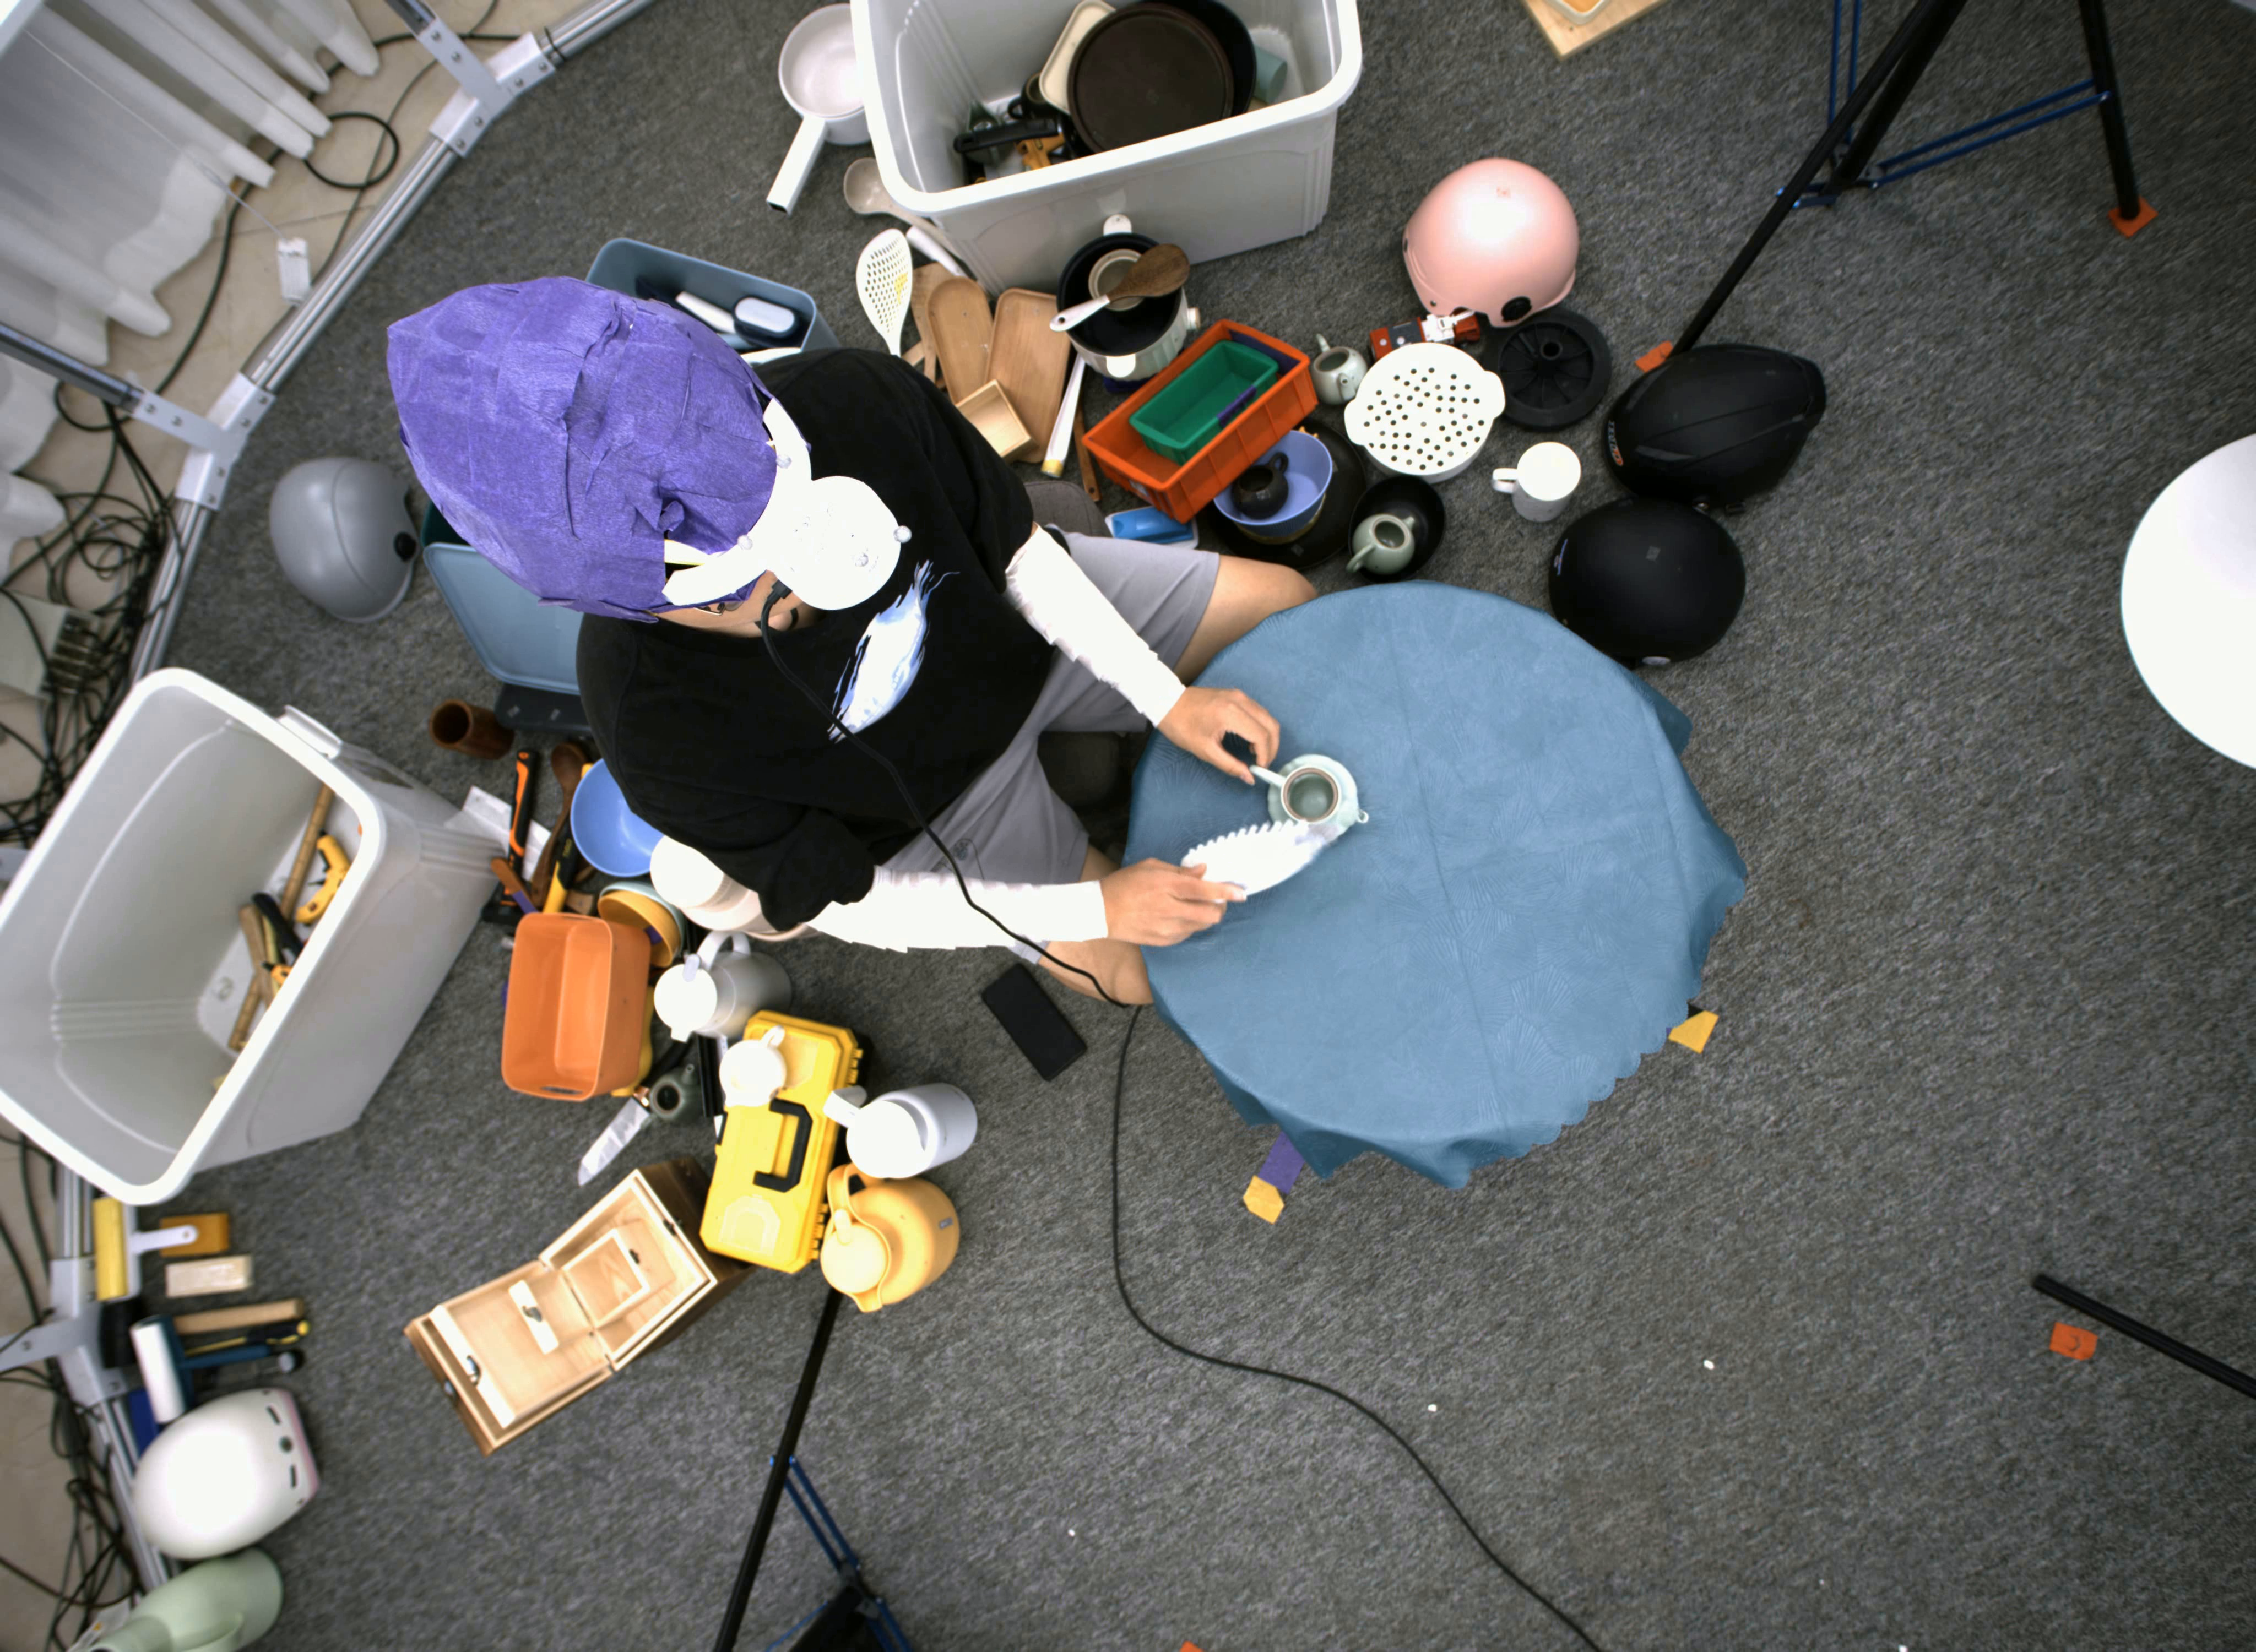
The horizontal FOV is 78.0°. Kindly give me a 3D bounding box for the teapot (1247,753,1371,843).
[{"bbox_3d":[0.190,-0.032,1.449,0.137,0.061,0.096,22,93,11],"label":"teapot"}]

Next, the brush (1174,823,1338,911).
[{"bbox_3d":[0.123,0.043,1.390,0.178,0.092,0.062,-16,112,34],"label":"brush"}]
